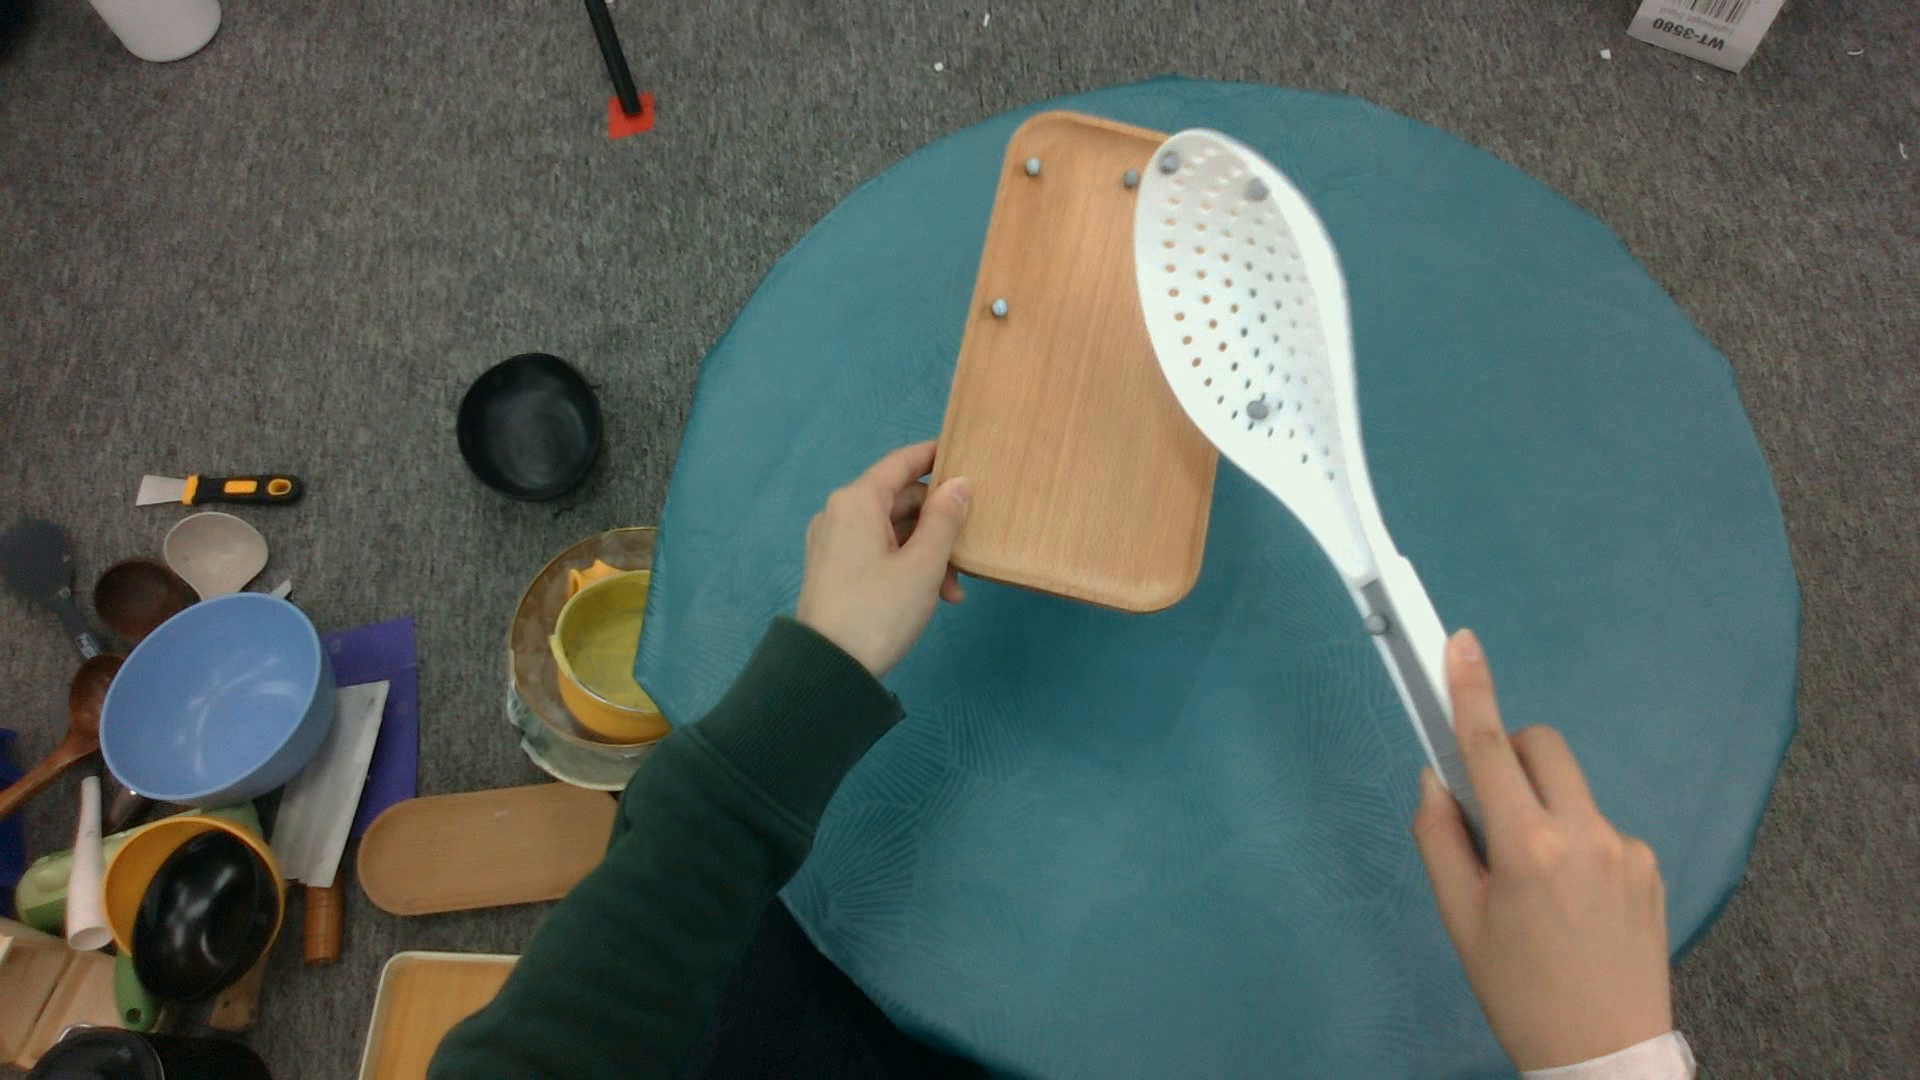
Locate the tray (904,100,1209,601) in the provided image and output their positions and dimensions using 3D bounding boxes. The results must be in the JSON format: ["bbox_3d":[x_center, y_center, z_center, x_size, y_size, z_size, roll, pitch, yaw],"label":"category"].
[{"bbox_3d":[0.056,-0.095,0.651,0.130,0.023,0.251,13,69,-1],"label":"tray"}]

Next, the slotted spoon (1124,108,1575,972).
[{"bbox_3d":[0.145,-0.007,0.526,0.046,0.135,0.350,-13,75,-15],"label":"slotted spoon"}]
